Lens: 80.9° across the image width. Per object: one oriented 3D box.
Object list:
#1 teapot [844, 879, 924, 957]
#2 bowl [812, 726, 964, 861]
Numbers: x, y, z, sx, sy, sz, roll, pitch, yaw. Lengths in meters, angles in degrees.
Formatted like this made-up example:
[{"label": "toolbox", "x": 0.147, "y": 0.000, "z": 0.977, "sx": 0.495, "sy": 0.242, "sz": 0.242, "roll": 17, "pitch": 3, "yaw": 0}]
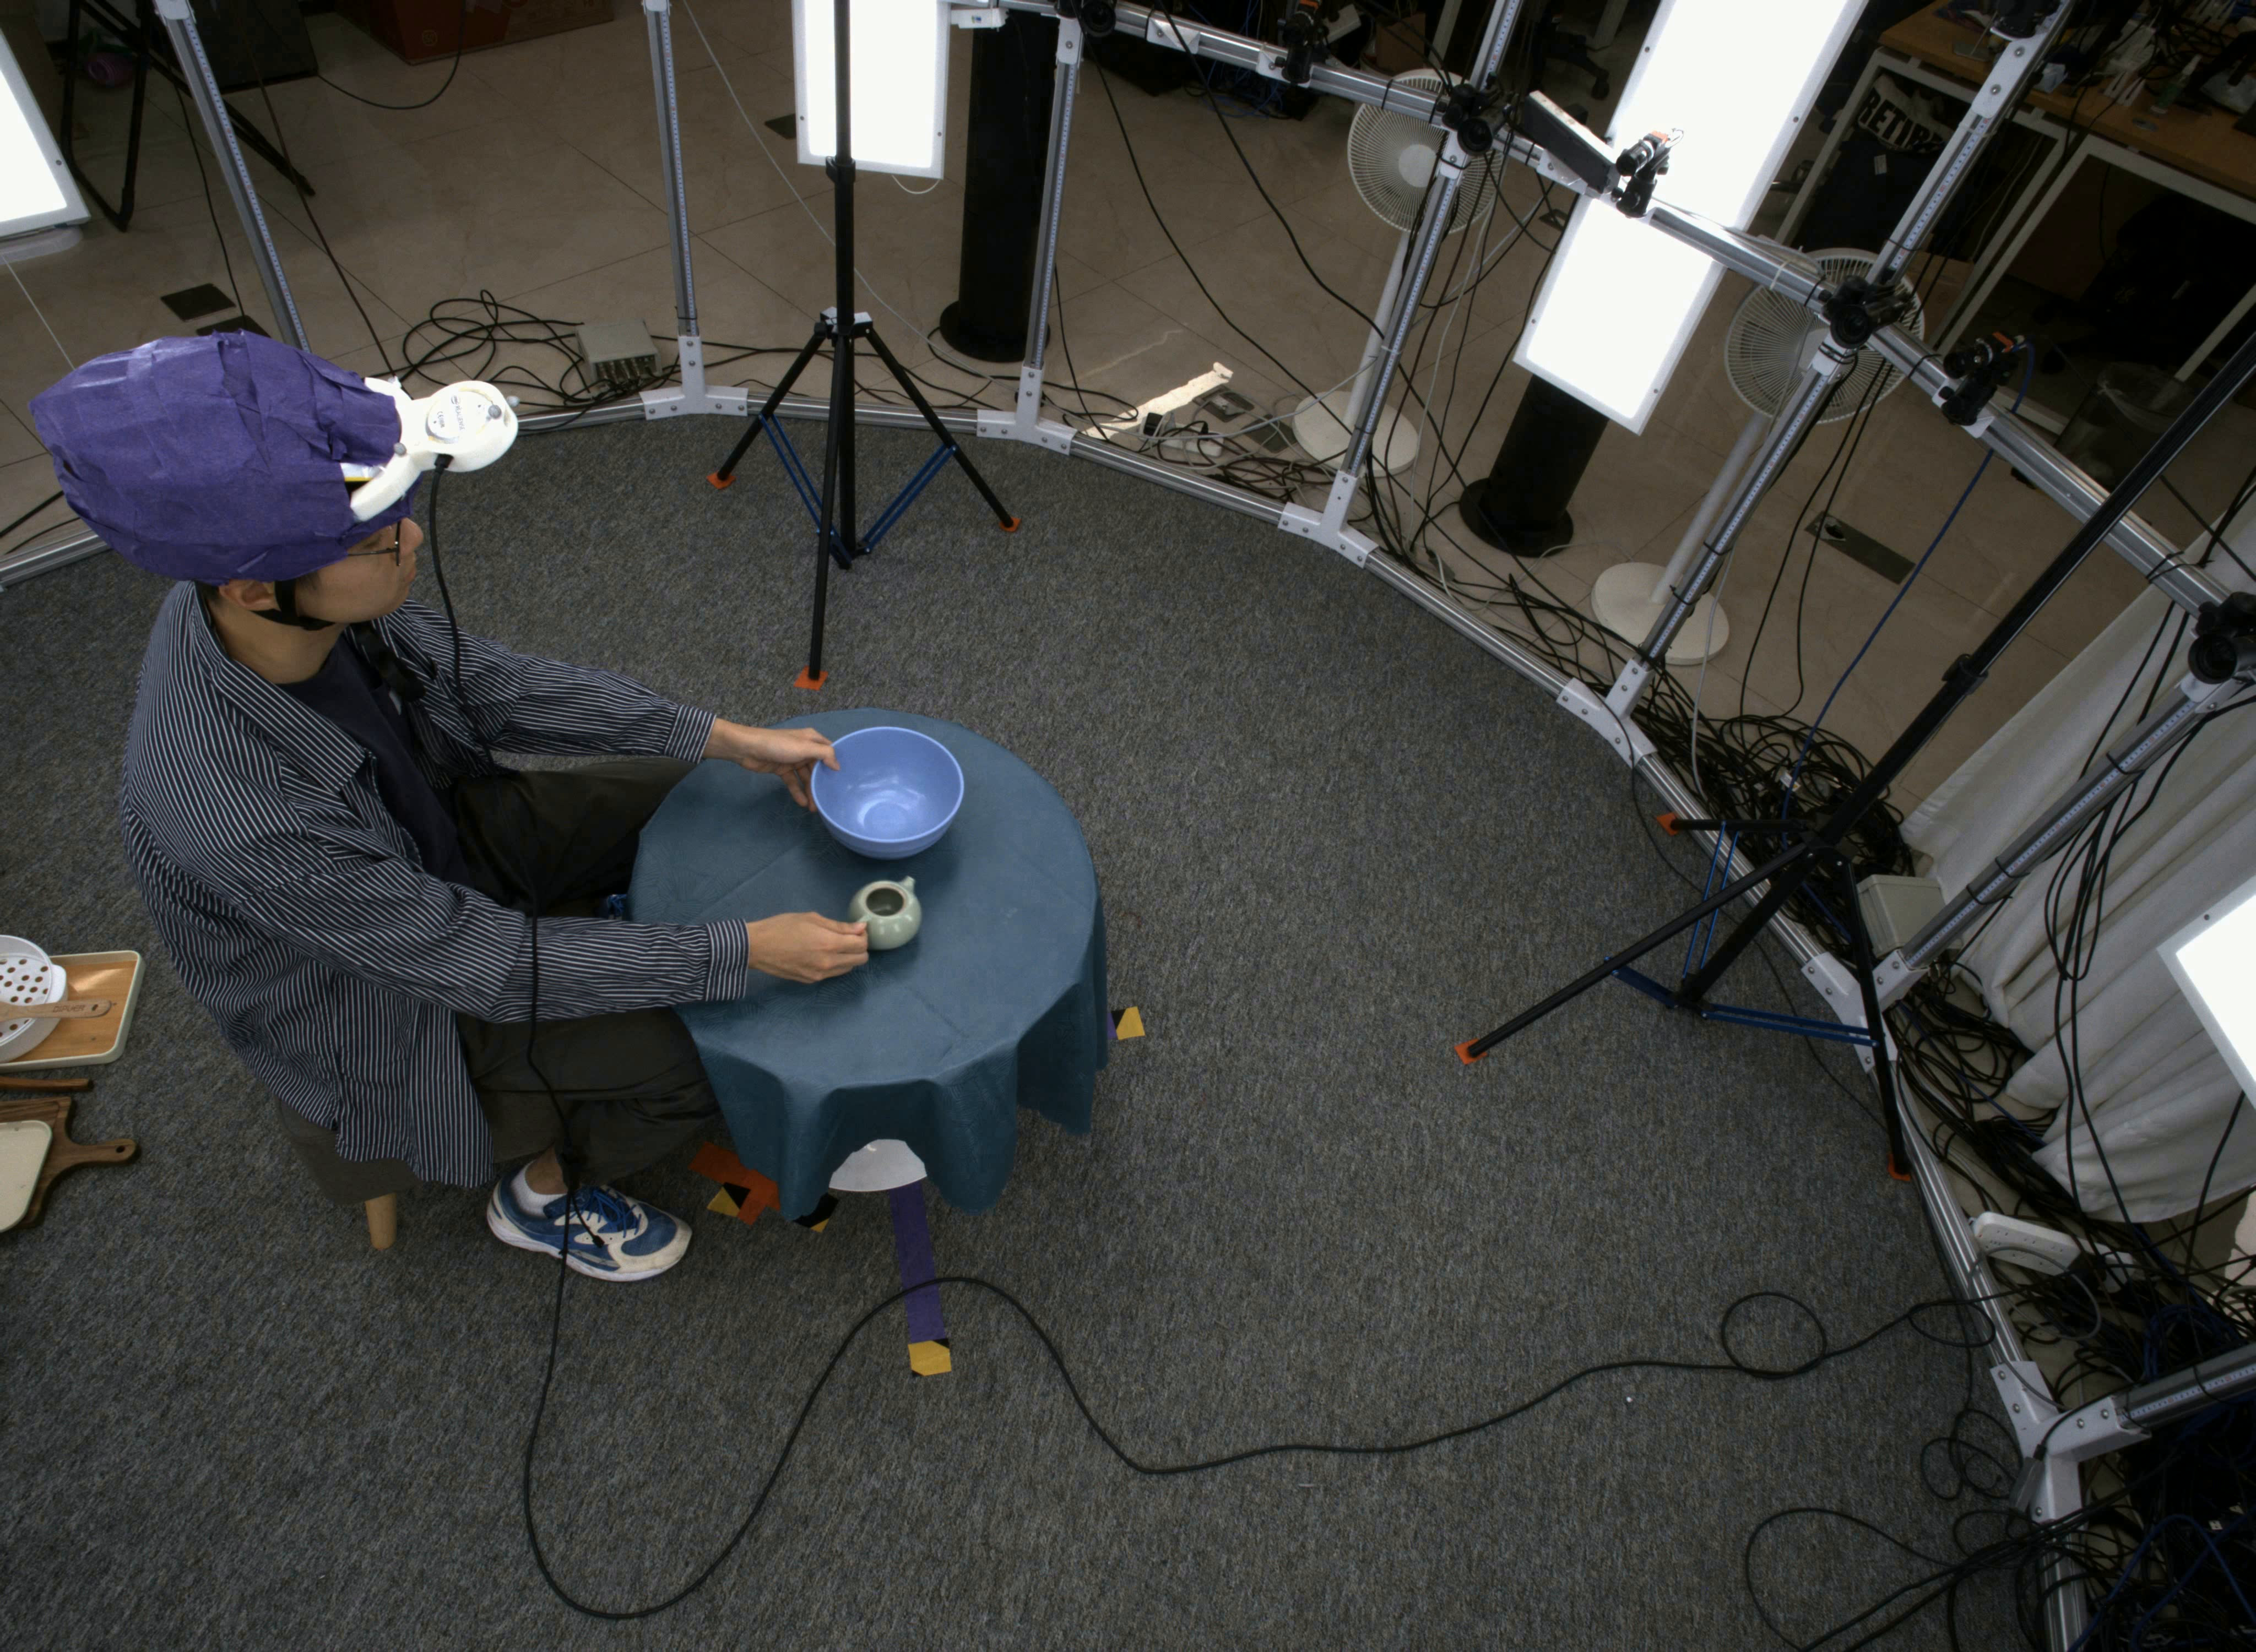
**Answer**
[{"label": "teapot", "x": -0.309, "y": 0.118, "z": 1.633, "sx": 0.089, "sy": 0.062, "sz": 0.128, "roll": 35, "pitch": 50, "yaw": 19}, {"label": "bowl", "x": -0.317, "y": -0.027, "z": 1.725, "sx": 0.196, "sy": 0.097, "sz": 0.193, "roll": 7, "pitch": 52, "yaw": -8}]
